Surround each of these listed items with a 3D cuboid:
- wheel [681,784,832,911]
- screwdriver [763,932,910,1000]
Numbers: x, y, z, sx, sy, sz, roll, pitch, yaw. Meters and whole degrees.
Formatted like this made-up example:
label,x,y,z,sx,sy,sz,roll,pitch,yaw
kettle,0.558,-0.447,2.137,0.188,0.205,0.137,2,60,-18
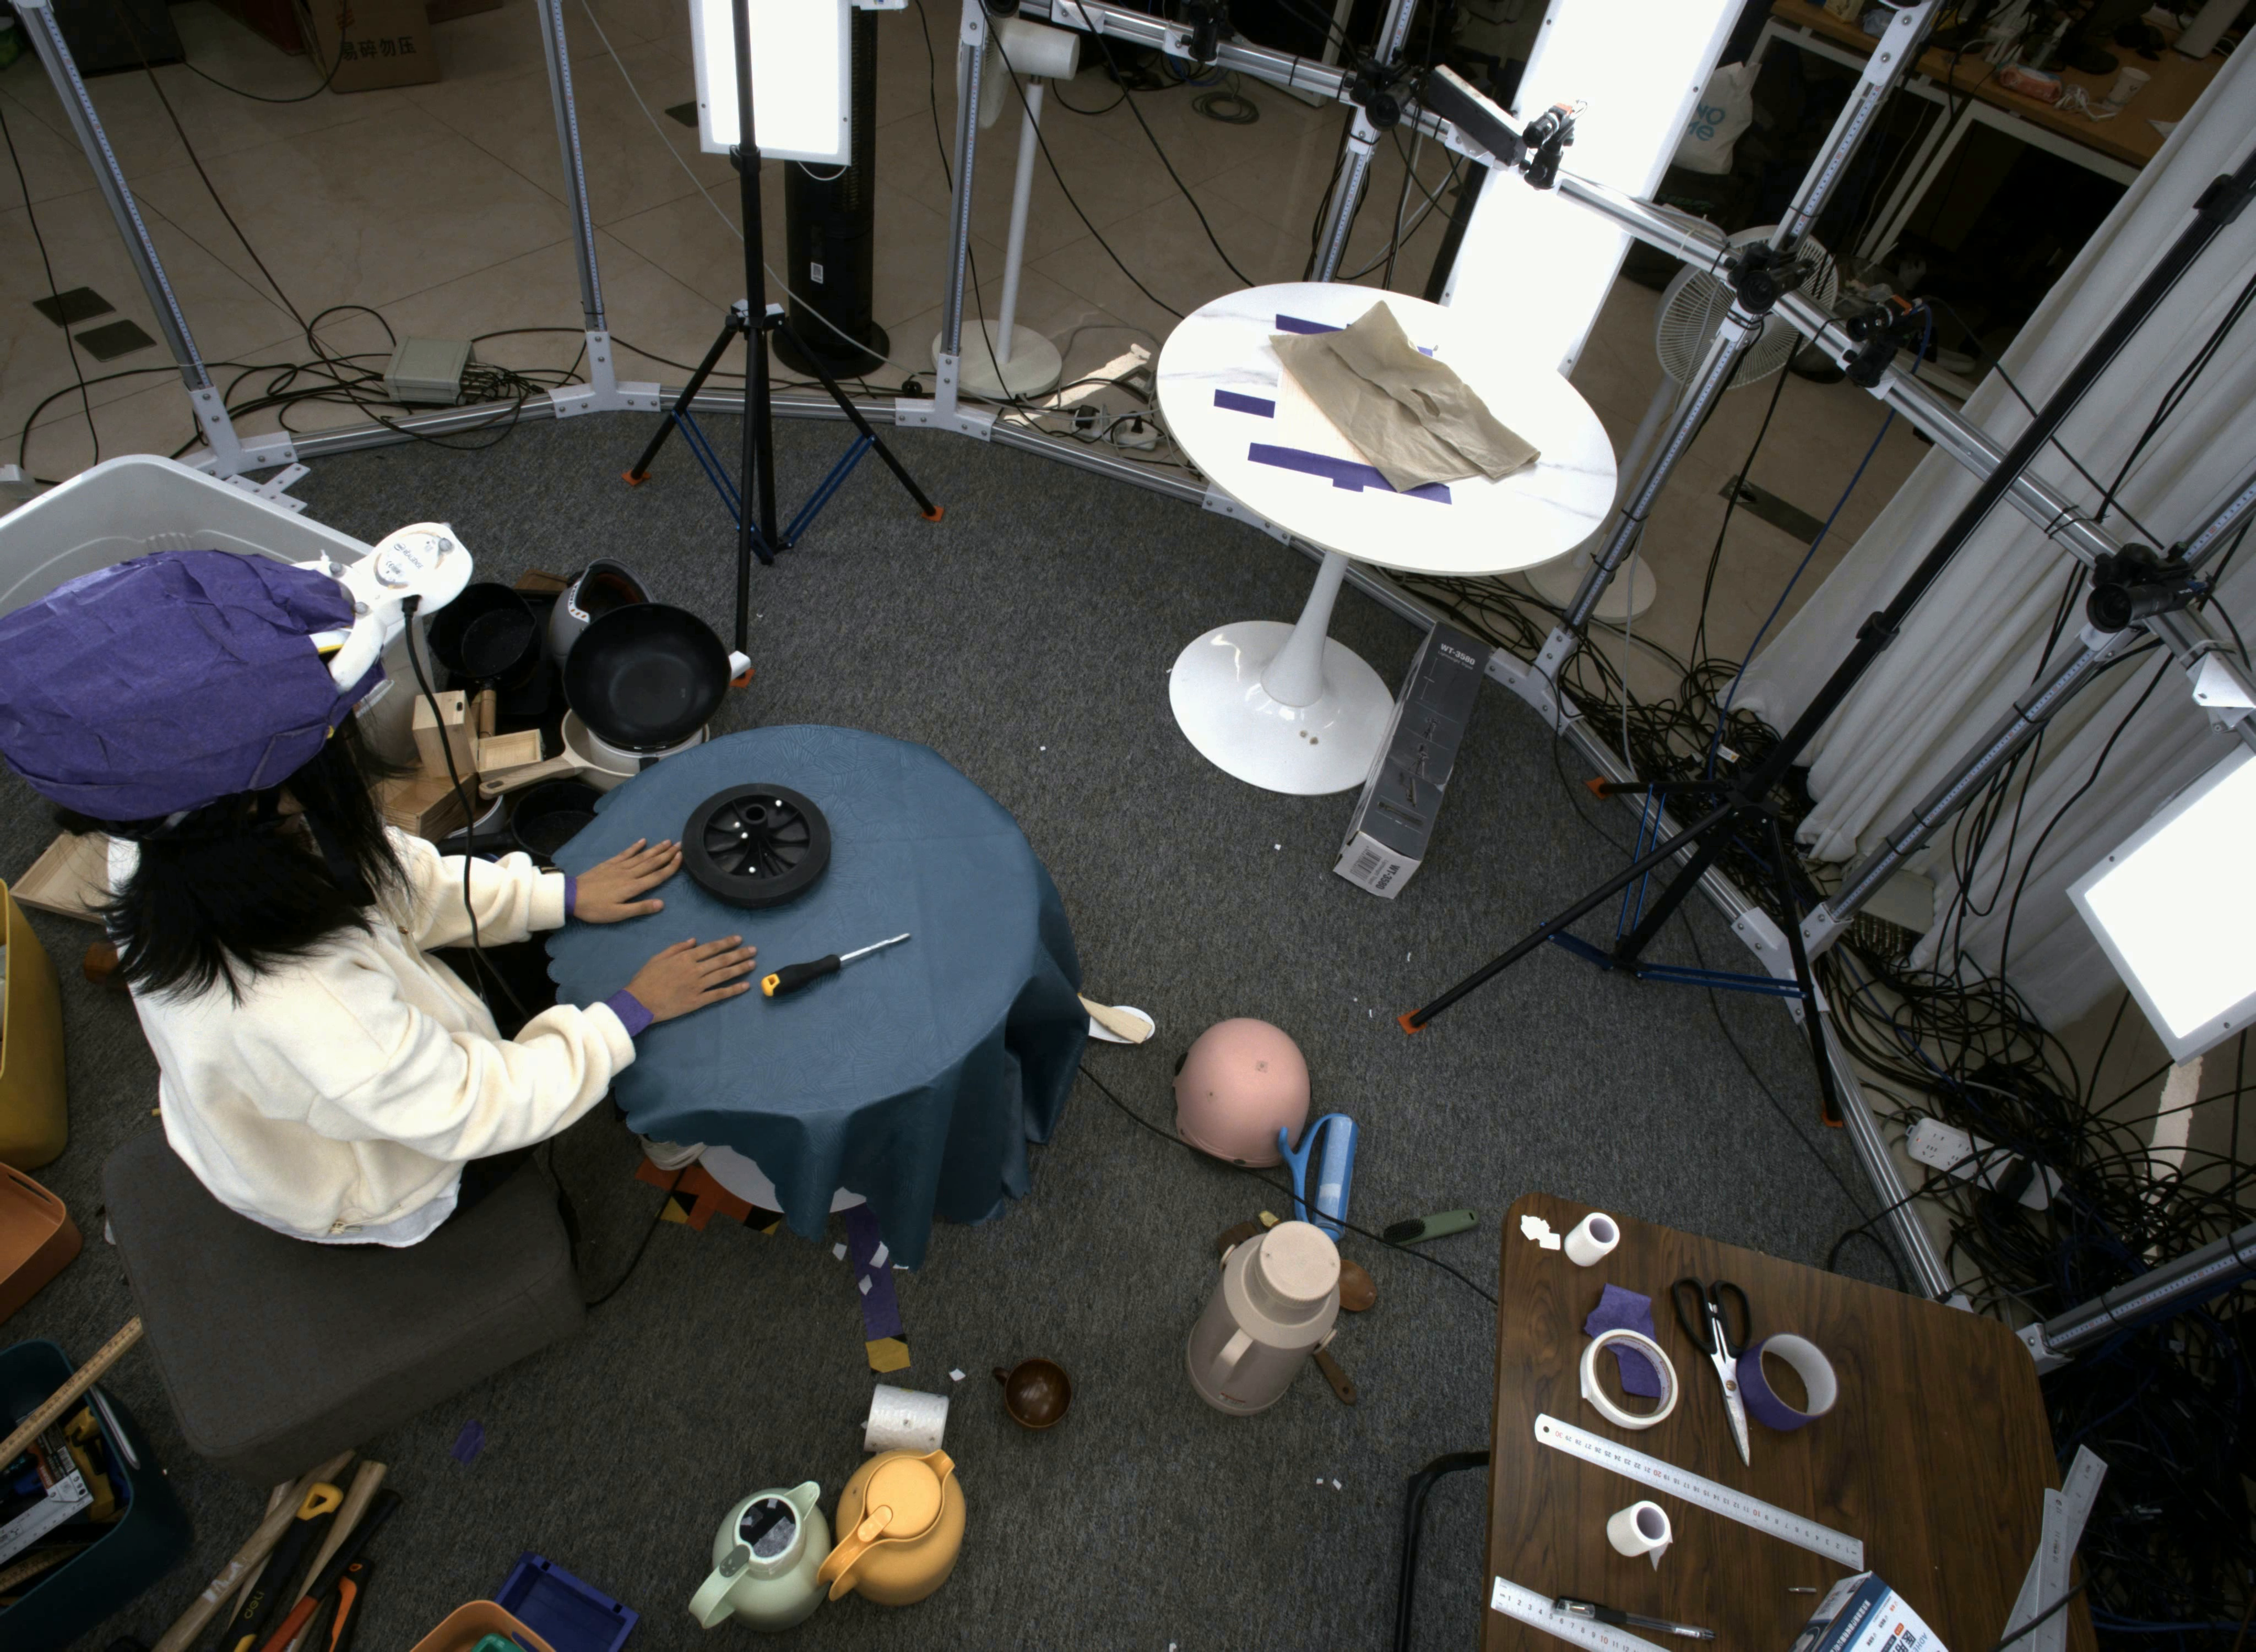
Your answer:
label,x,y,z,sx,sy,sz,roll,pitch,yaw
wheel,-0.474,0.012,1.649,0.187,0.080,0.186,31,53,6
screwdriver,-0.354,0.168,1.596,0.199,0.032,0.030,-19,59,-30
